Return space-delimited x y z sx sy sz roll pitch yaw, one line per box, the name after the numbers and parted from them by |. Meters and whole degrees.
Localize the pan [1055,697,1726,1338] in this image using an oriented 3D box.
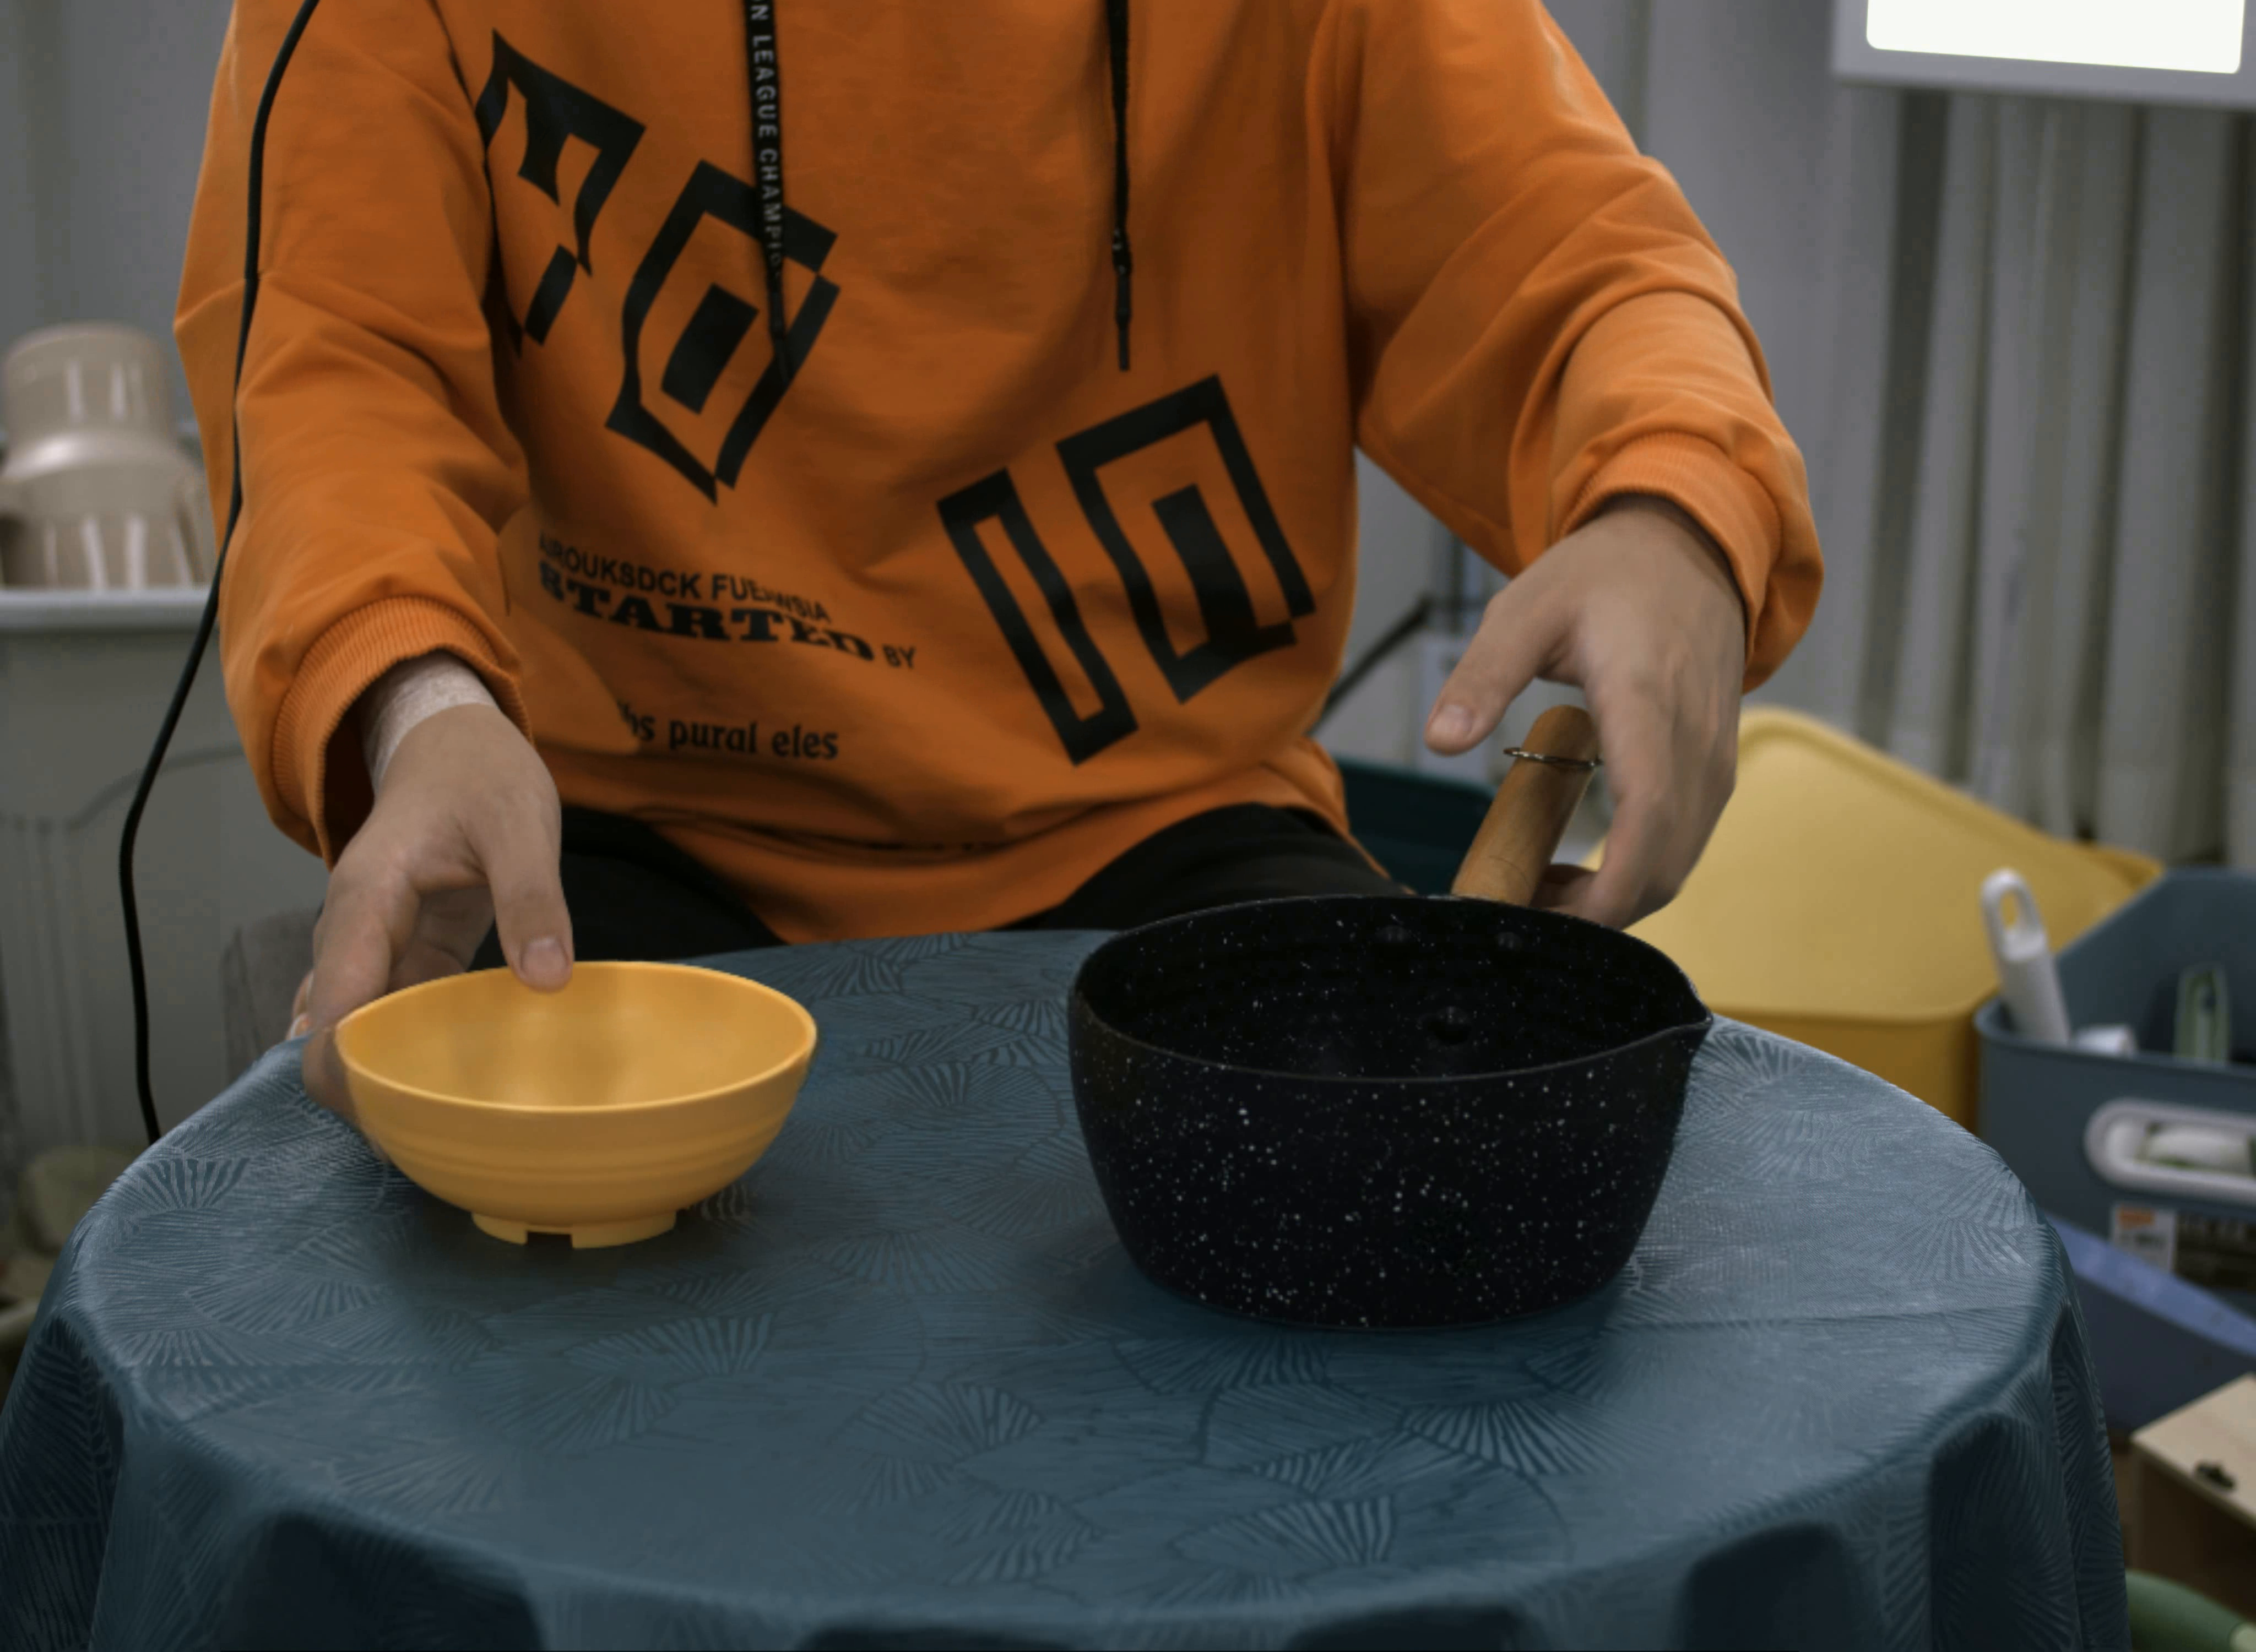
0.097 0.054 1.633 0.206 0.109 0.342 4 17 16 | pan

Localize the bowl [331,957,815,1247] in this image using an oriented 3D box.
-0.168 0.089 1.592 0.145 0.060 0.144 2 16 0 | bowl
